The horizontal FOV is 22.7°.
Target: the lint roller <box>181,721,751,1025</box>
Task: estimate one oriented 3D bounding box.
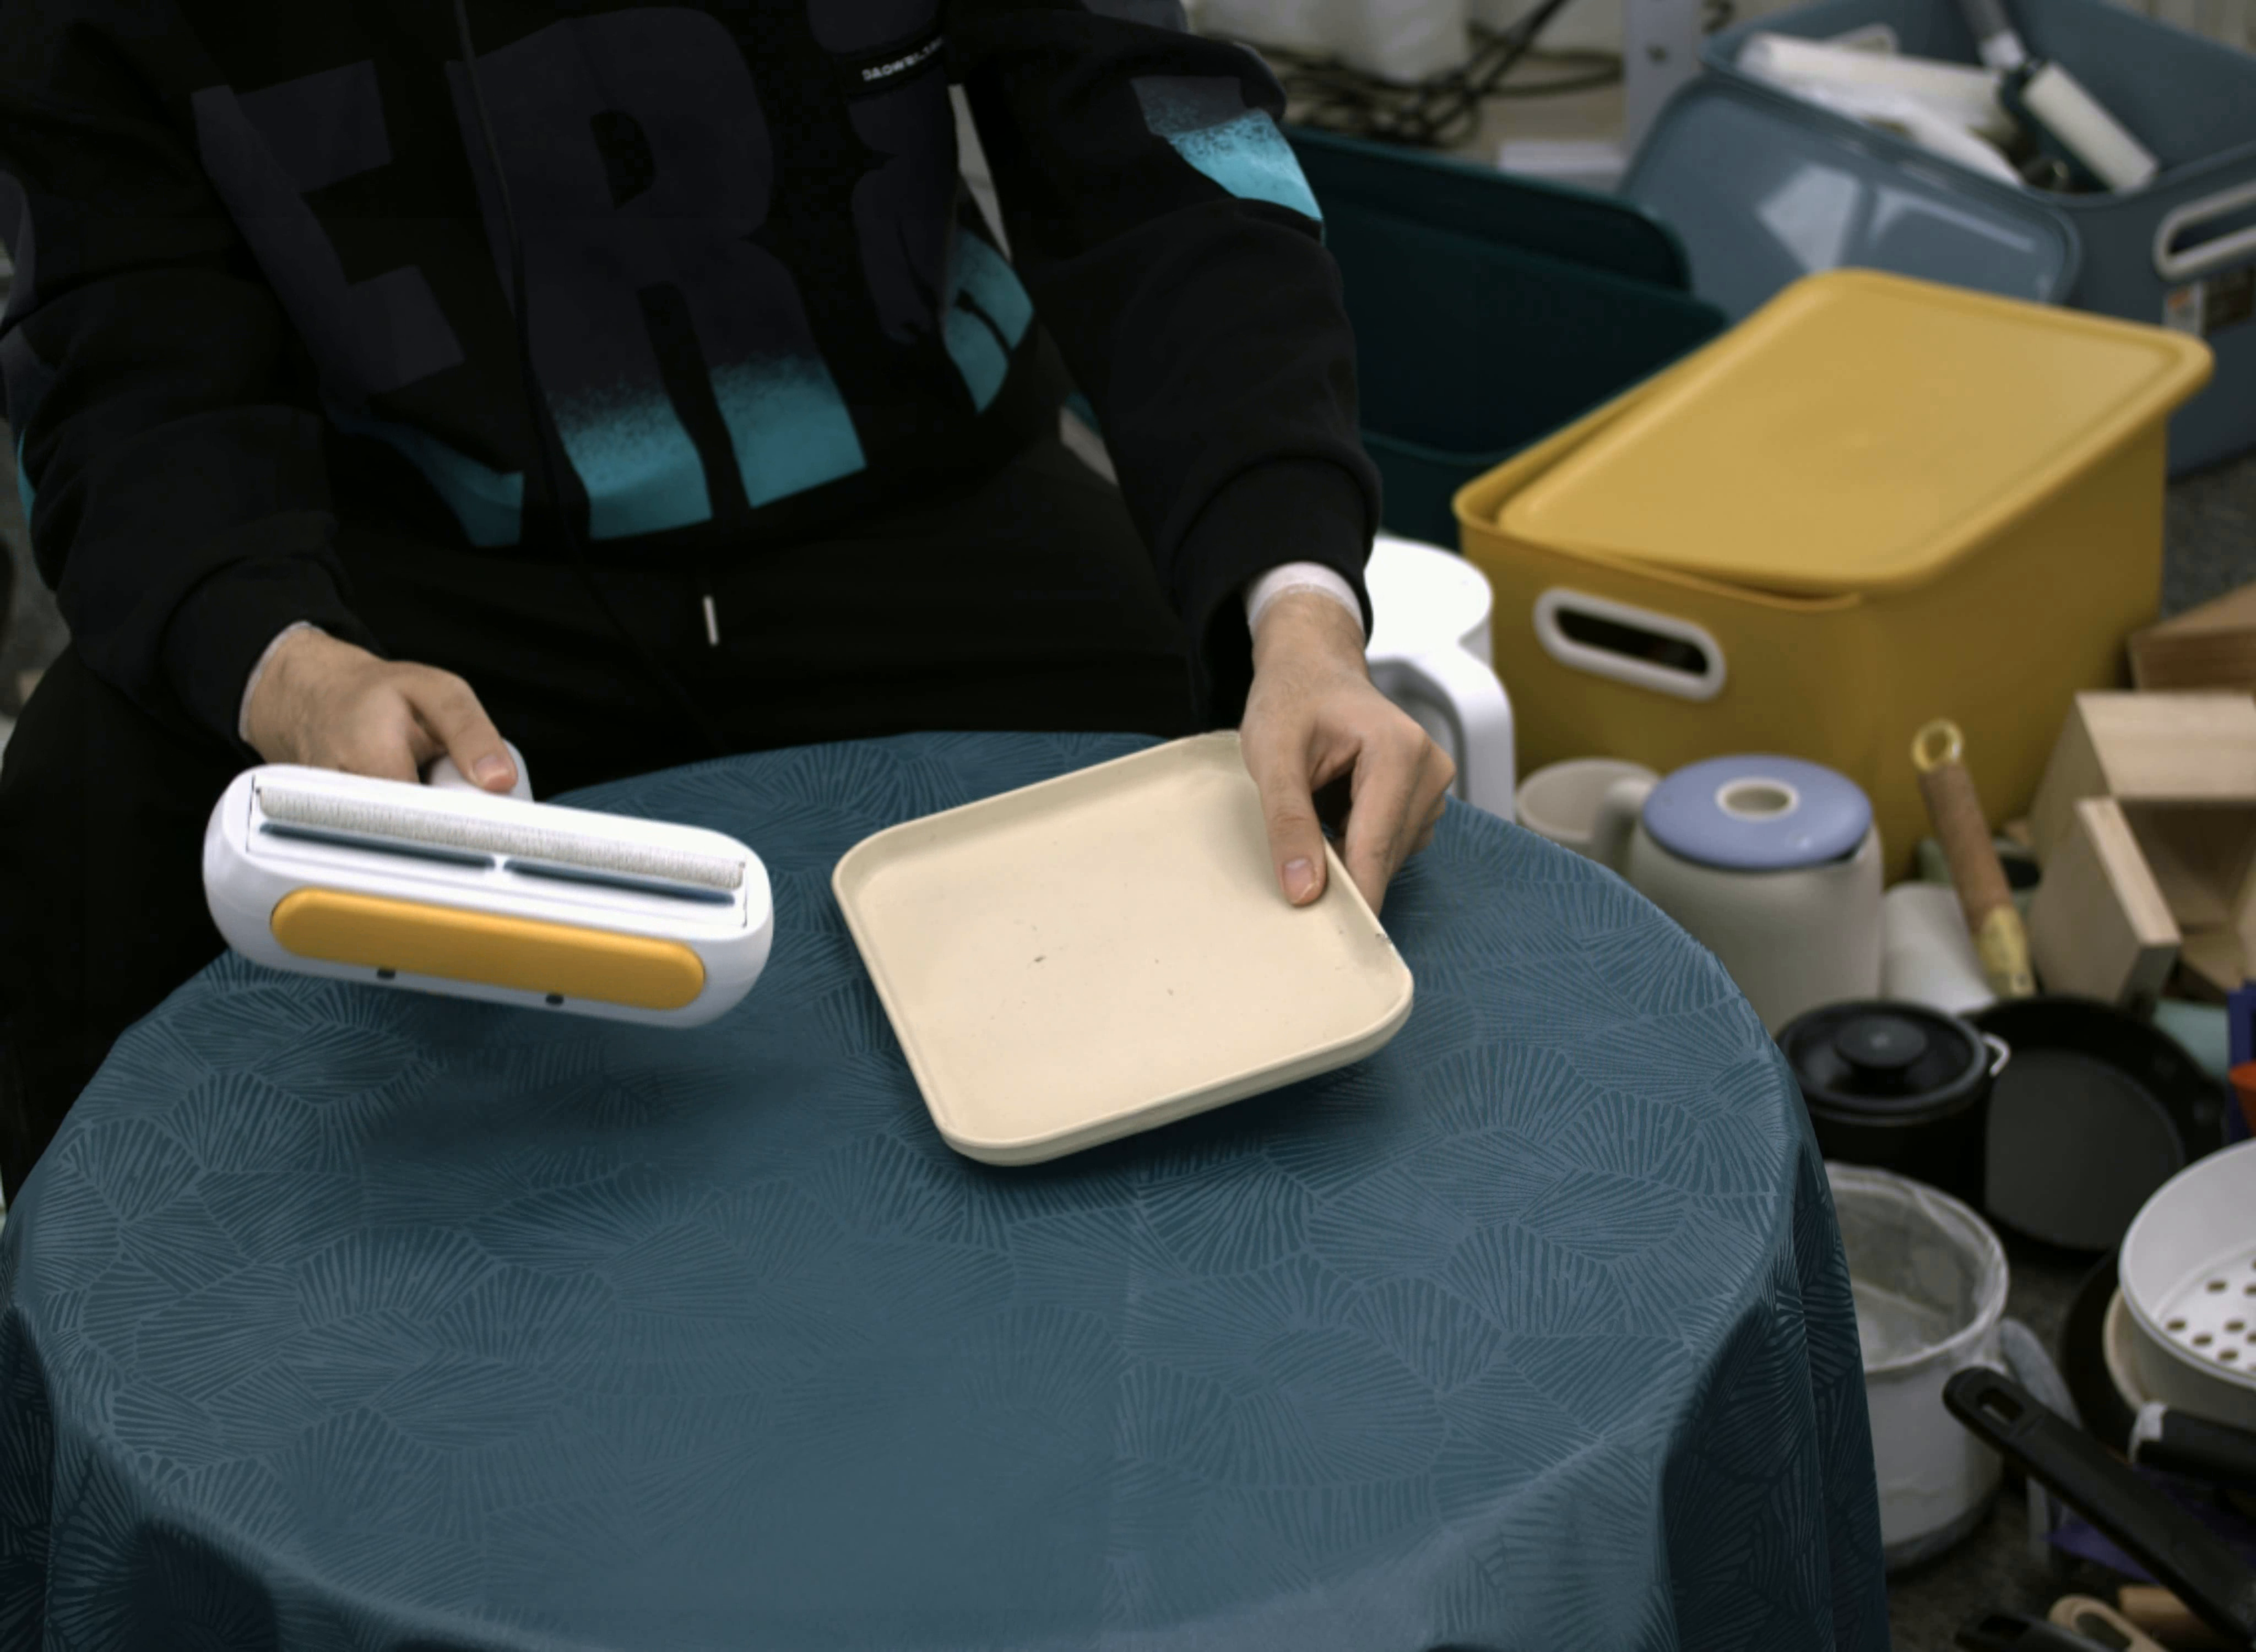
[{"bbox_3d":[-0.227,-0.001,1.949,0.192,0.073,0.195,7,27,-7],"label":"lint roller"}]

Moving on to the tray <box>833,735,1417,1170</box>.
[{"bbox_3d":[-0.004,0.043,1.968,0.171,0.017,0.242,-17,29,-7],"label":"tray"}]
